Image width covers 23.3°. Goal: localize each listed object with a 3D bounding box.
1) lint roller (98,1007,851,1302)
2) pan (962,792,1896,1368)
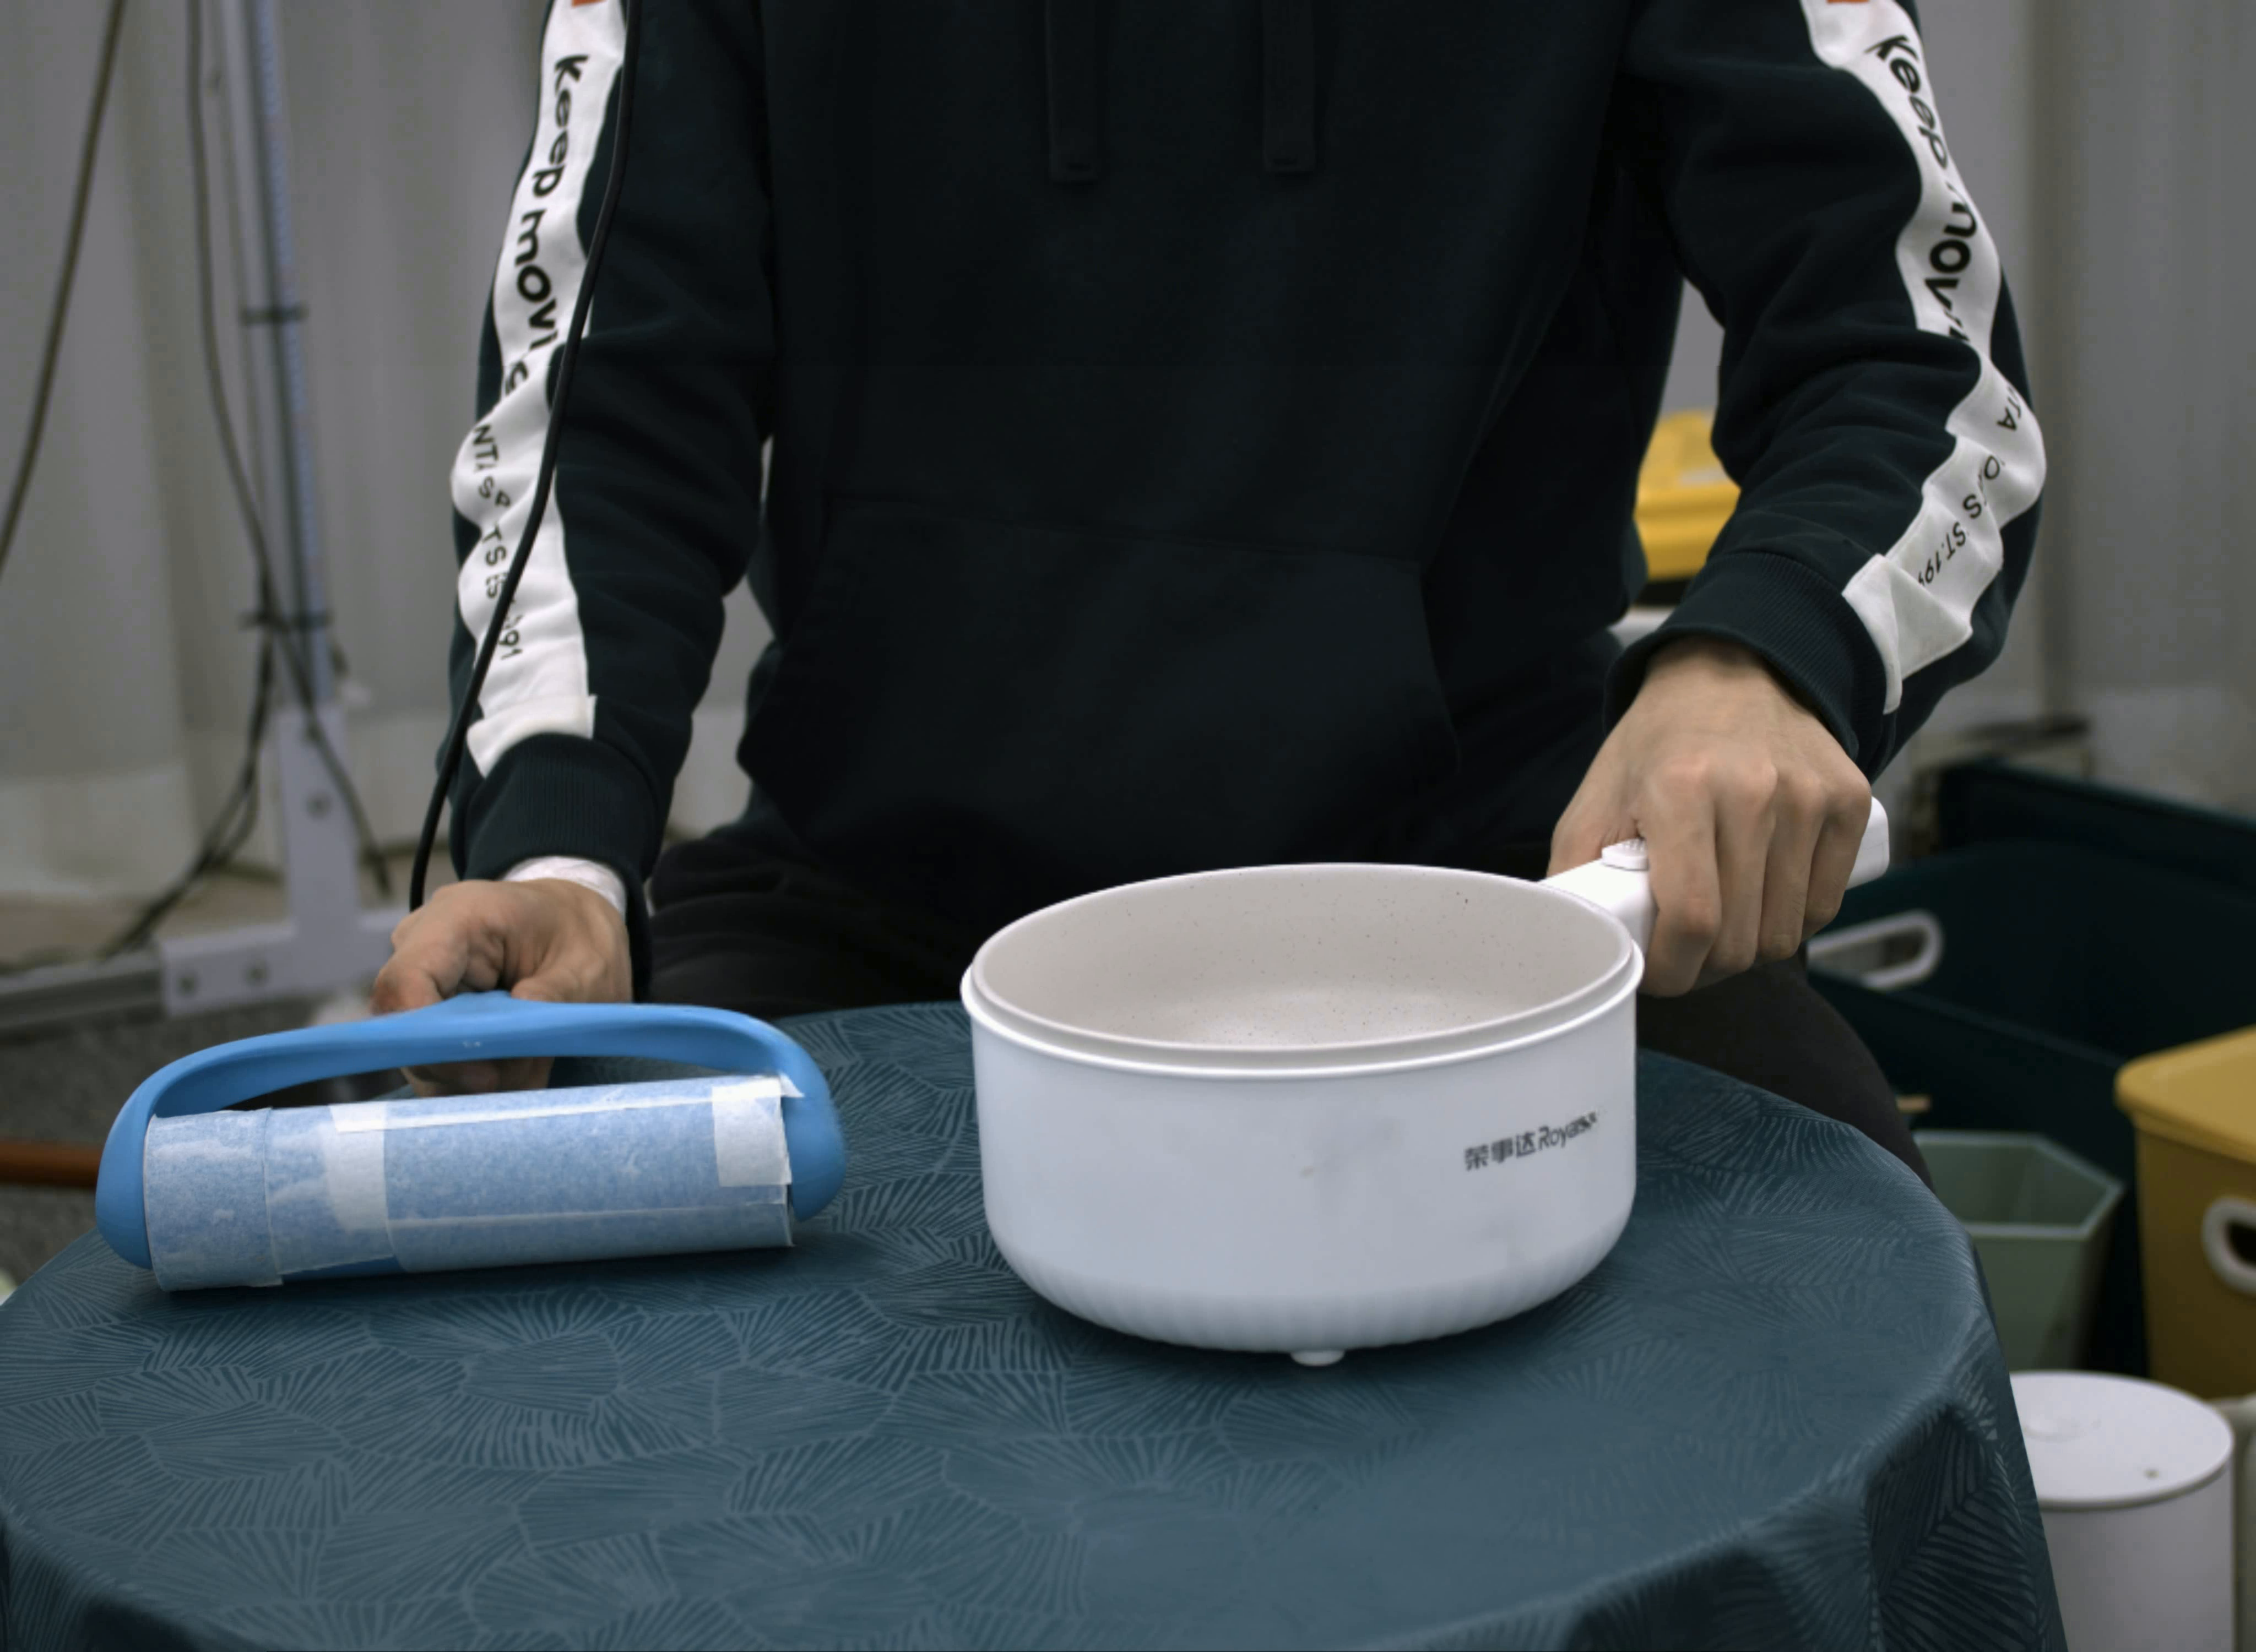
[{"bbox_3d":[-0.205,0.089,1.721,0.228,0.067,0.182,-6,21,-4],"label":"lint roller"},{"bbox_3d":[0.108,0.071,1.667,0.354,0.102,0.202,-15,19,-42],"label":"pan"}]
